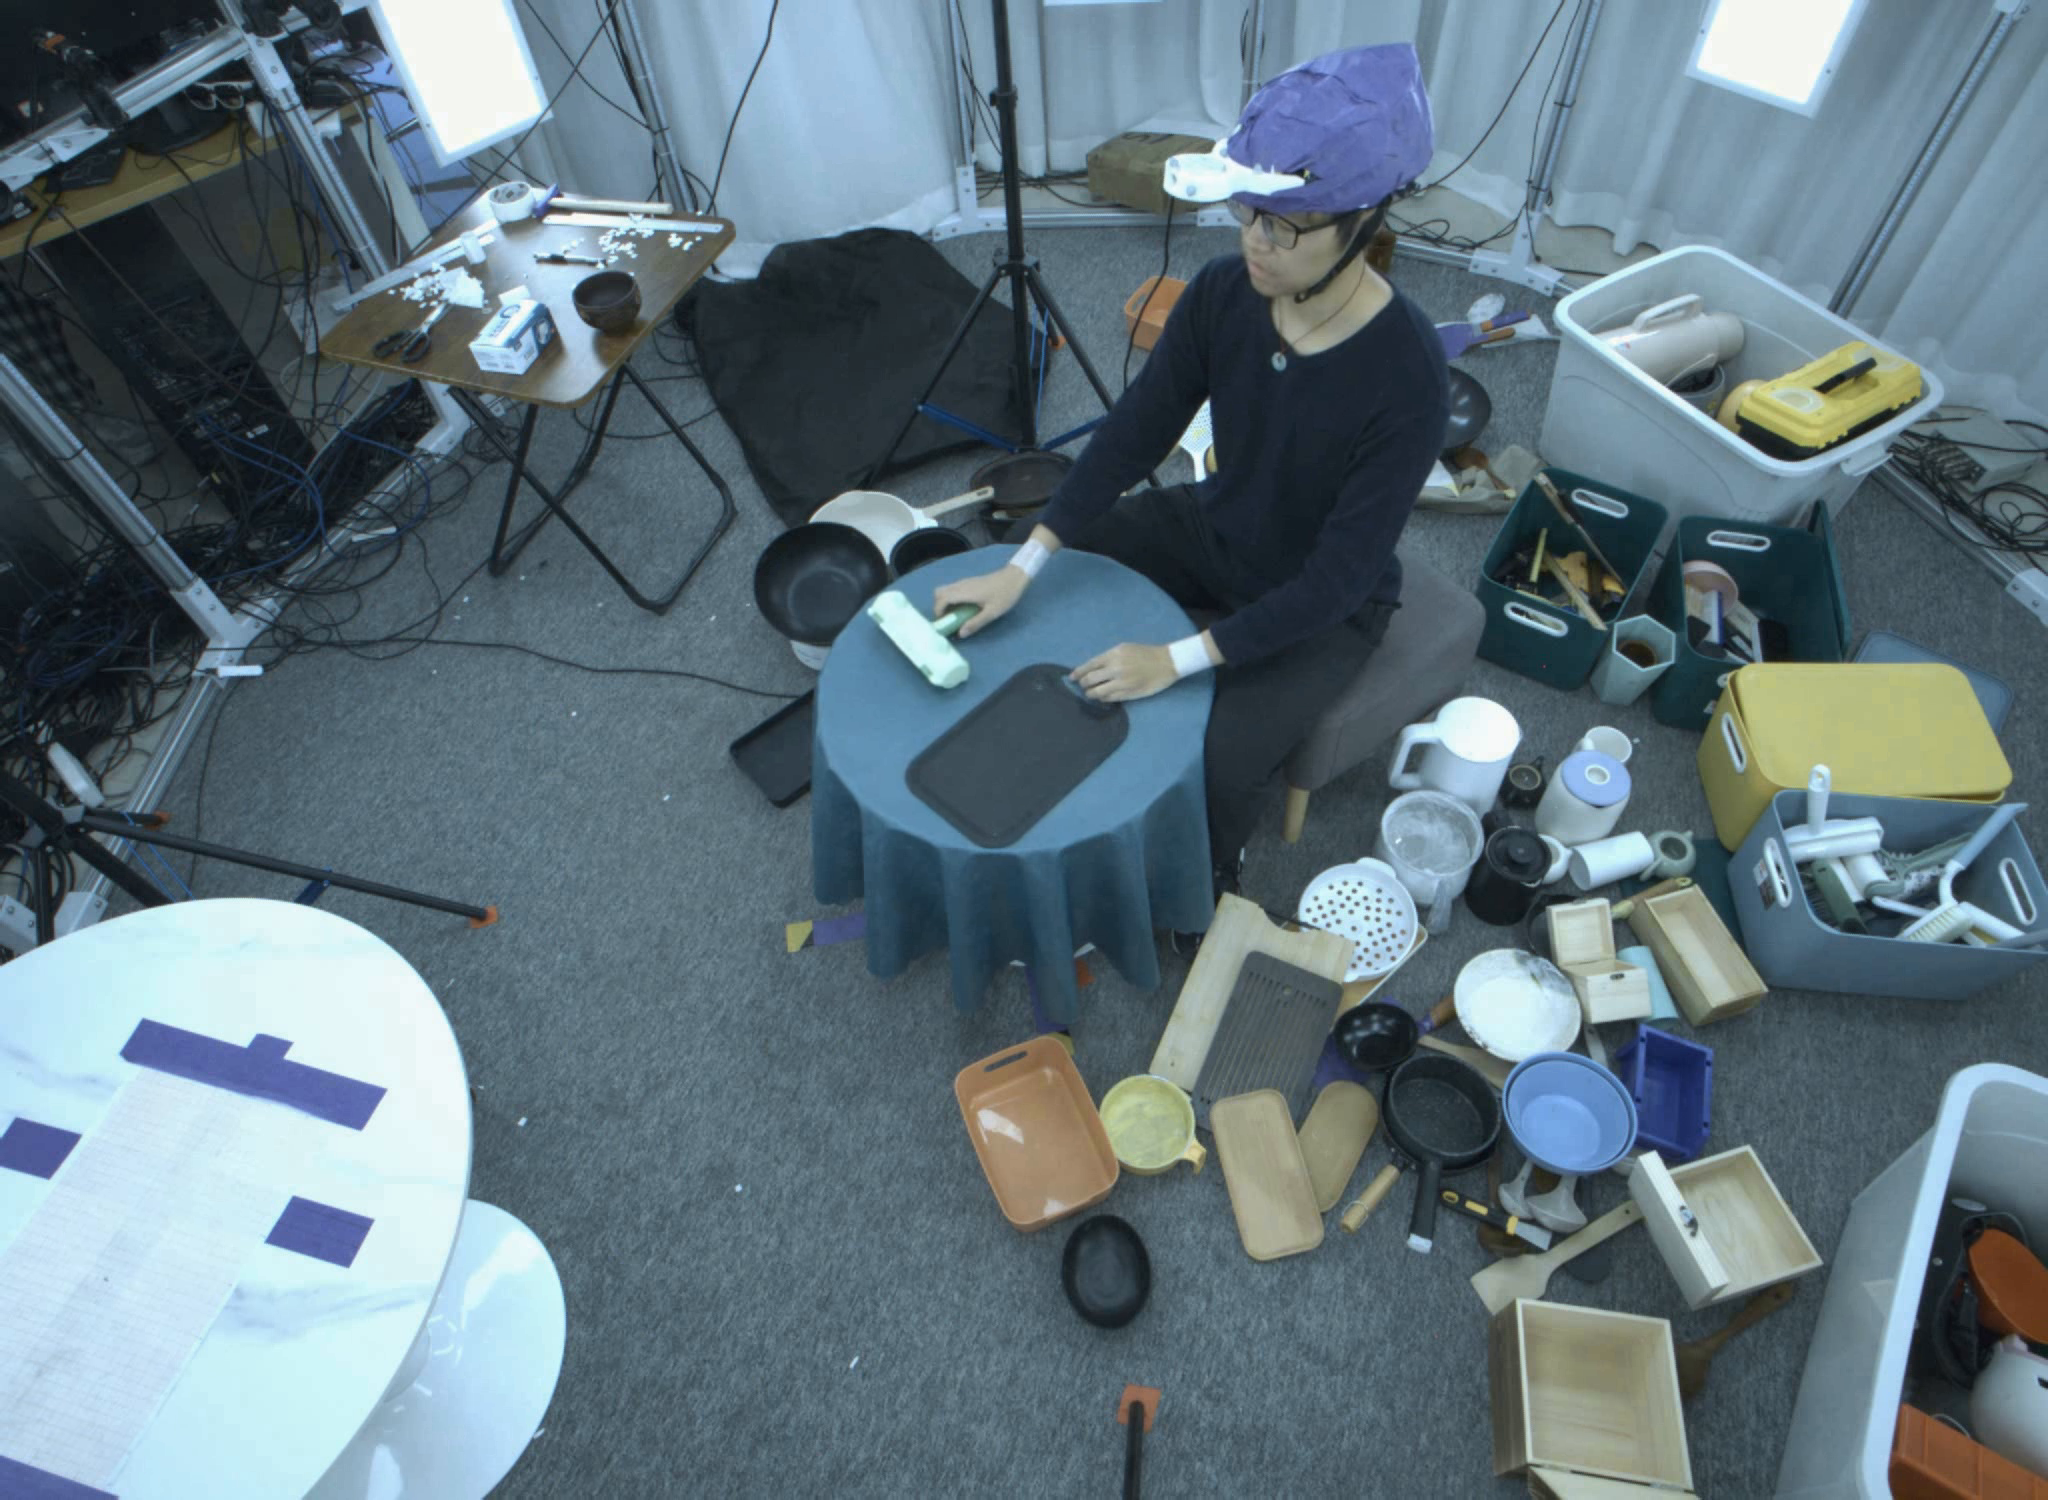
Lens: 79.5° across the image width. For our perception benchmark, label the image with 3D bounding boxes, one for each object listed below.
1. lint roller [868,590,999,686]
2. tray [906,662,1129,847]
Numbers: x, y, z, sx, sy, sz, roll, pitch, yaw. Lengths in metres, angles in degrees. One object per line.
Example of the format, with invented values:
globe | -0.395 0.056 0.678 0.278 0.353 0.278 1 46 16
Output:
lint roller | -0.118 -0.209 1.886 0.184 0.083 0.195 -37 62 -14
tray | -0.003 -0.007 1.788 0.207 0.010 0.327 38 64 25
